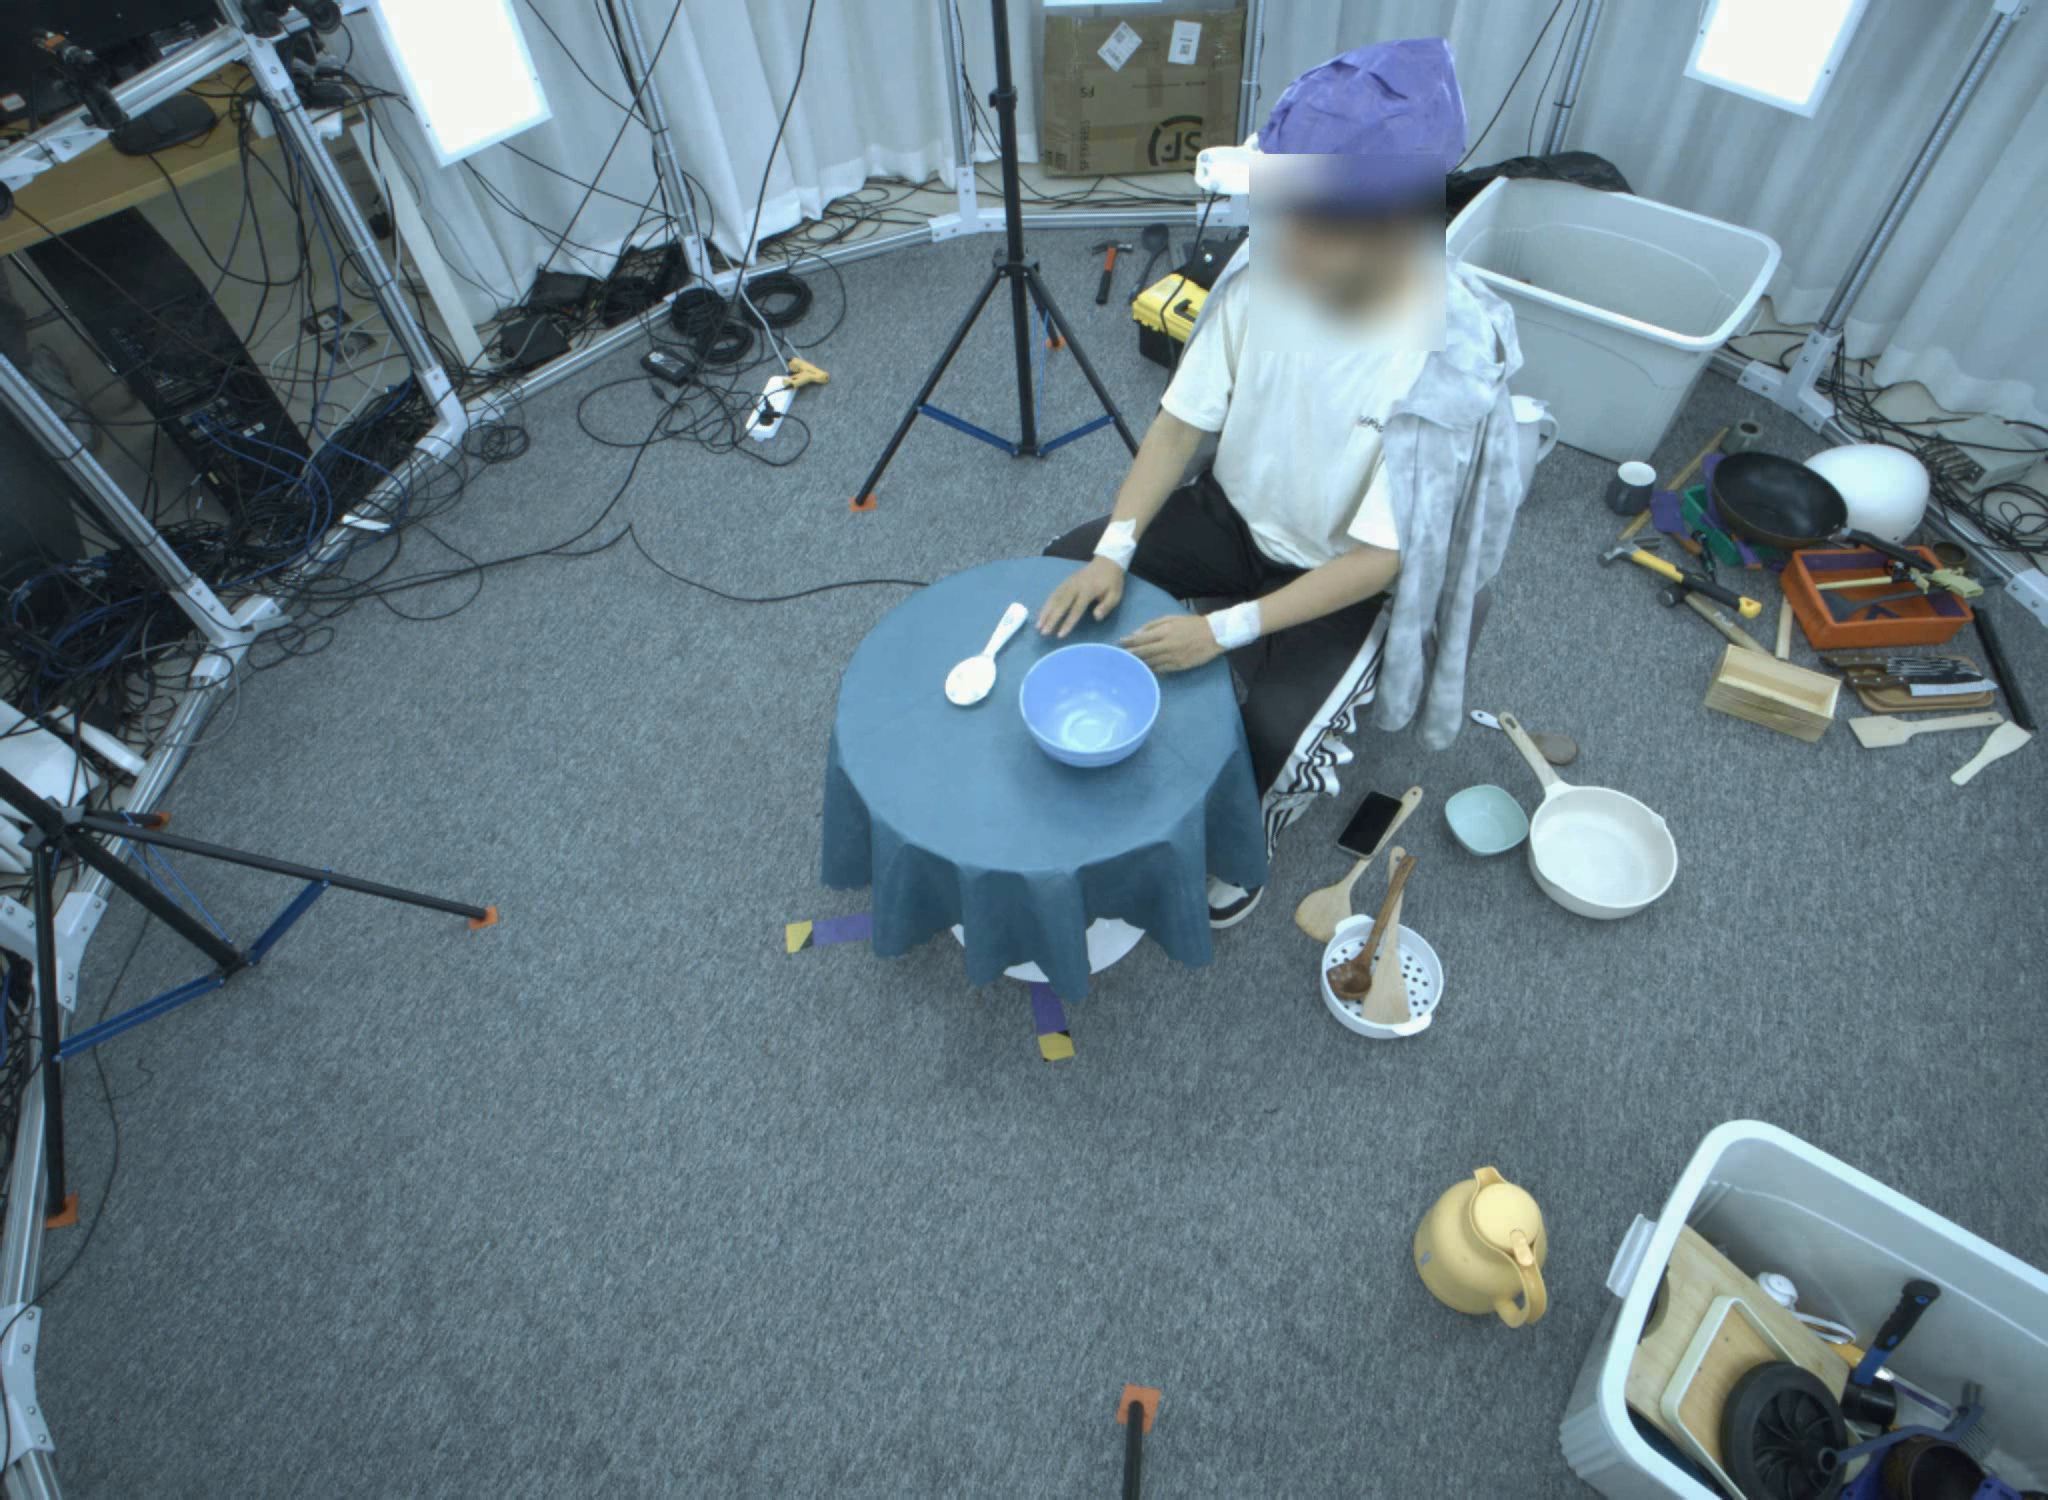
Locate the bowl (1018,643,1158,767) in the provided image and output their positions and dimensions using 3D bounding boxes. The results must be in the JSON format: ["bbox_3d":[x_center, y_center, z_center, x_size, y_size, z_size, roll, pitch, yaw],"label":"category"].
[{"bbox_3d":[0.094,-0.050,1.761,0.196,0.096,0.194,-2,55,3],"label":"bowl"}]

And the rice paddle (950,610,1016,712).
[{"bbox_3d":[-0.057,-0.135,1.875,0.069,0.029,0.205,21,54,1],"label":"rice paddle"}]
